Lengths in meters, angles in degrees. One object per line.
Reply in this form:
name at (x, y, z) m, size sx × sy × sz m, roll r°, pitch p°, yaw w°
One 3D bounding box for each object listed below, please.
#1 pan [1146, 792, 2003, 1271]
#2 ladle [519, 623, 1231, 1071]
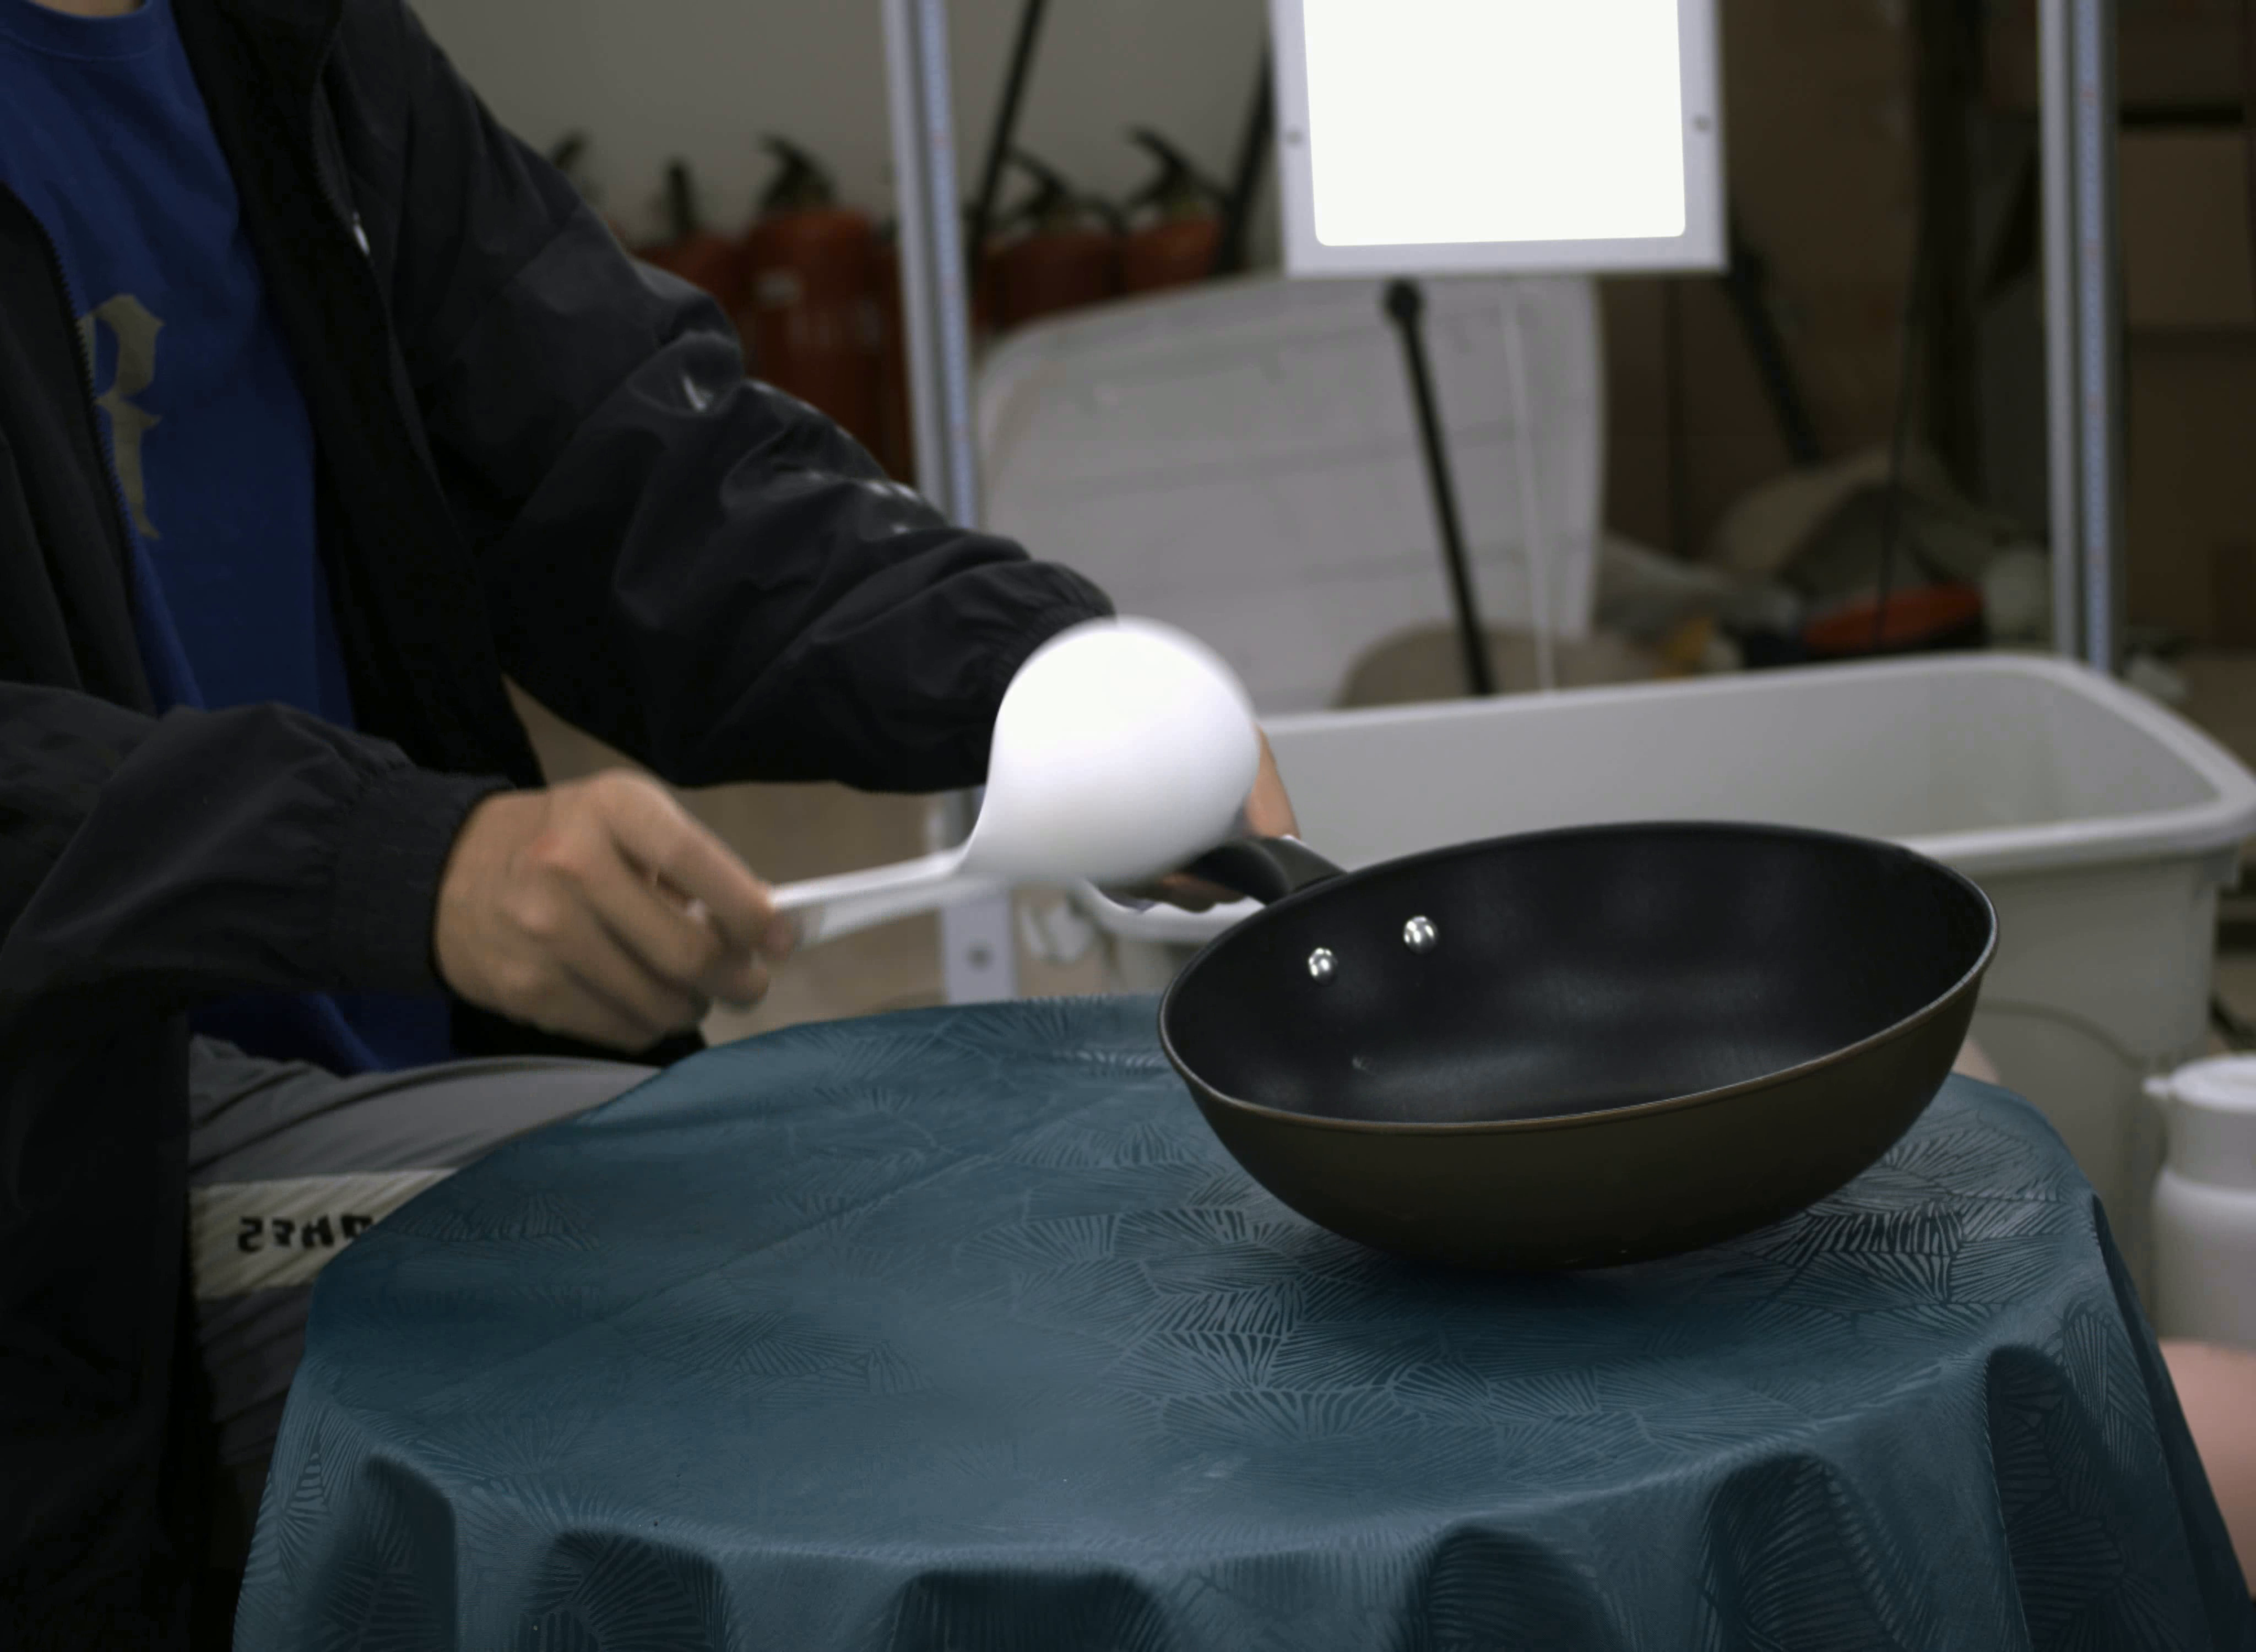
pan at (0.107, 0.064, 1.902) m, size 0.282 × 0.087 × 0.472 m, roll -17°, pitch 19°, yaw -27°
ladle at (-0.090, 0.013, 1.768) m, size 0.300 × 0.089 × 0.069 m, roll -22°, pitch 43°, yaw 44°
